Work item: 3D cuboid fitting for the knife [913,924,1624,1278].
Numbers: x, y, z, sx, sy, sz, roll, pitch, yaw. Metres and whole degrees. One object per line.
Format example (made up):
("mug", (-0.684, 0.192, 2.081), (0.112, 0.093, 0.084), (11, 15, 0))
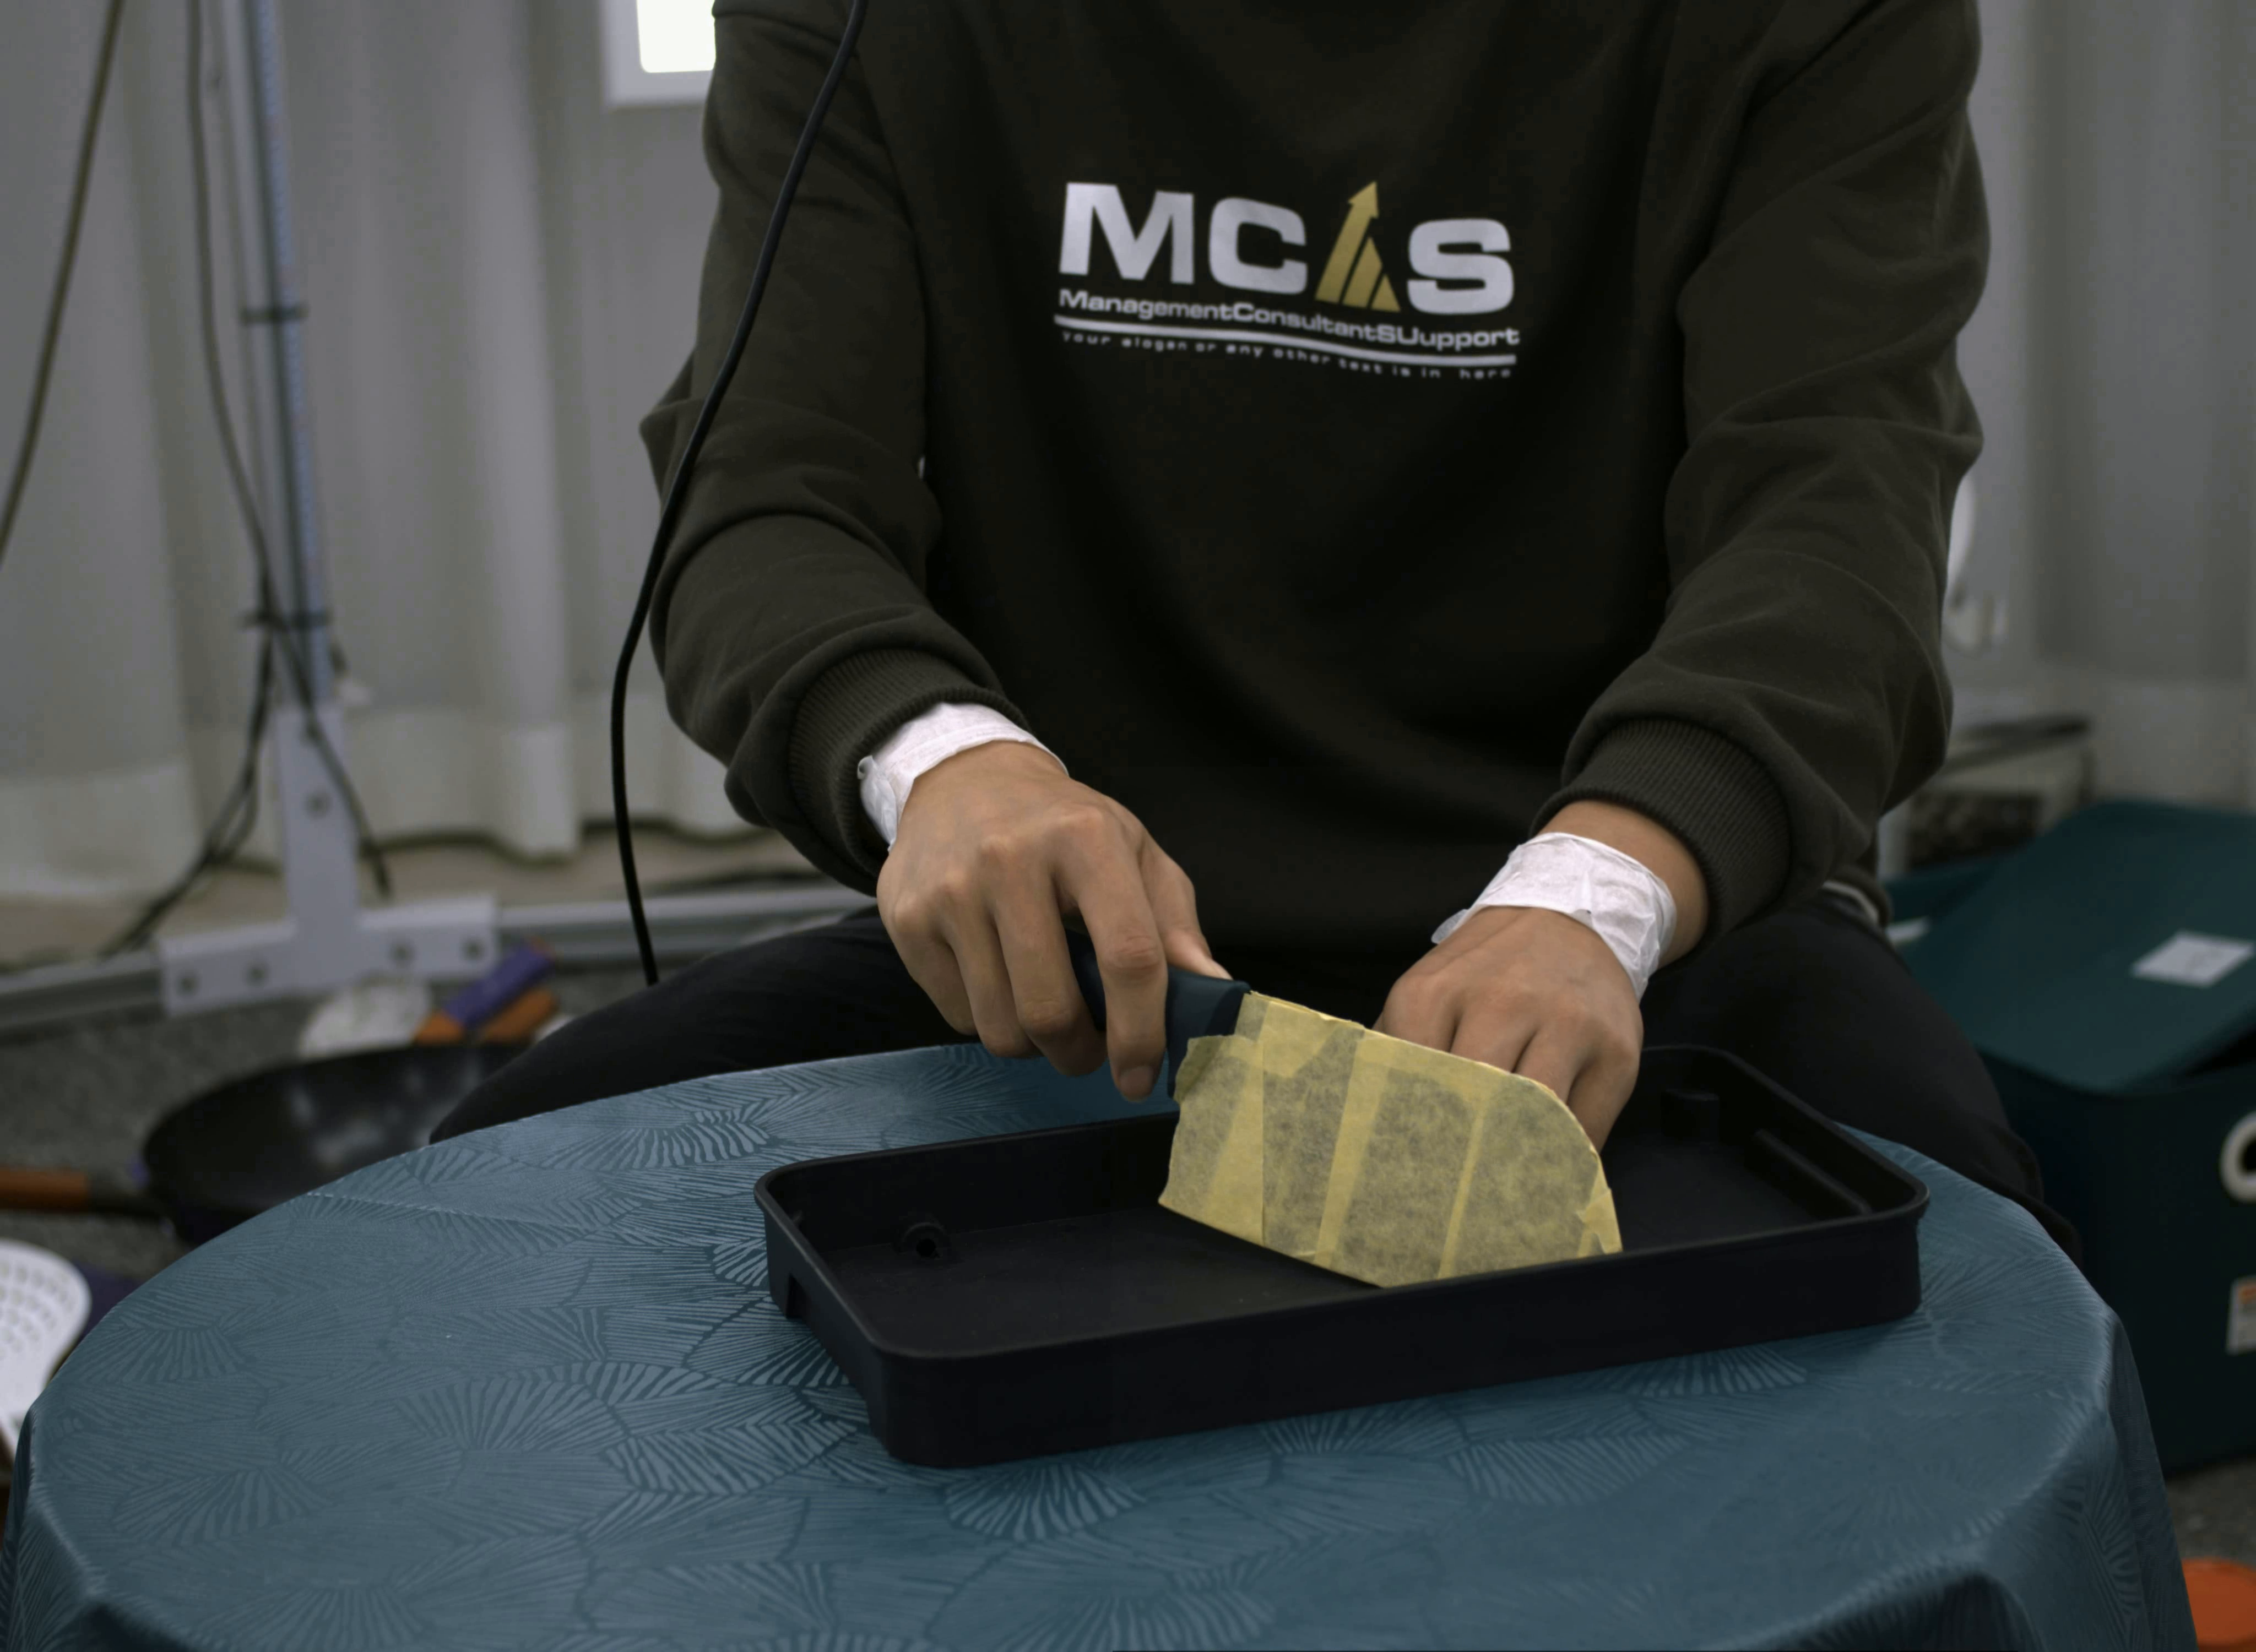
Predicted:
("knife", (0.037, 0.085, 1.643), (0.291, 0.081, 0.027), (20, 5, 41))

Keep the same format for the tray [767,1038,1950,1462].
("tray", (0.066, 0.120, 1.610), (0.316, 0.037, 0.186), (-7, 15, -17))
